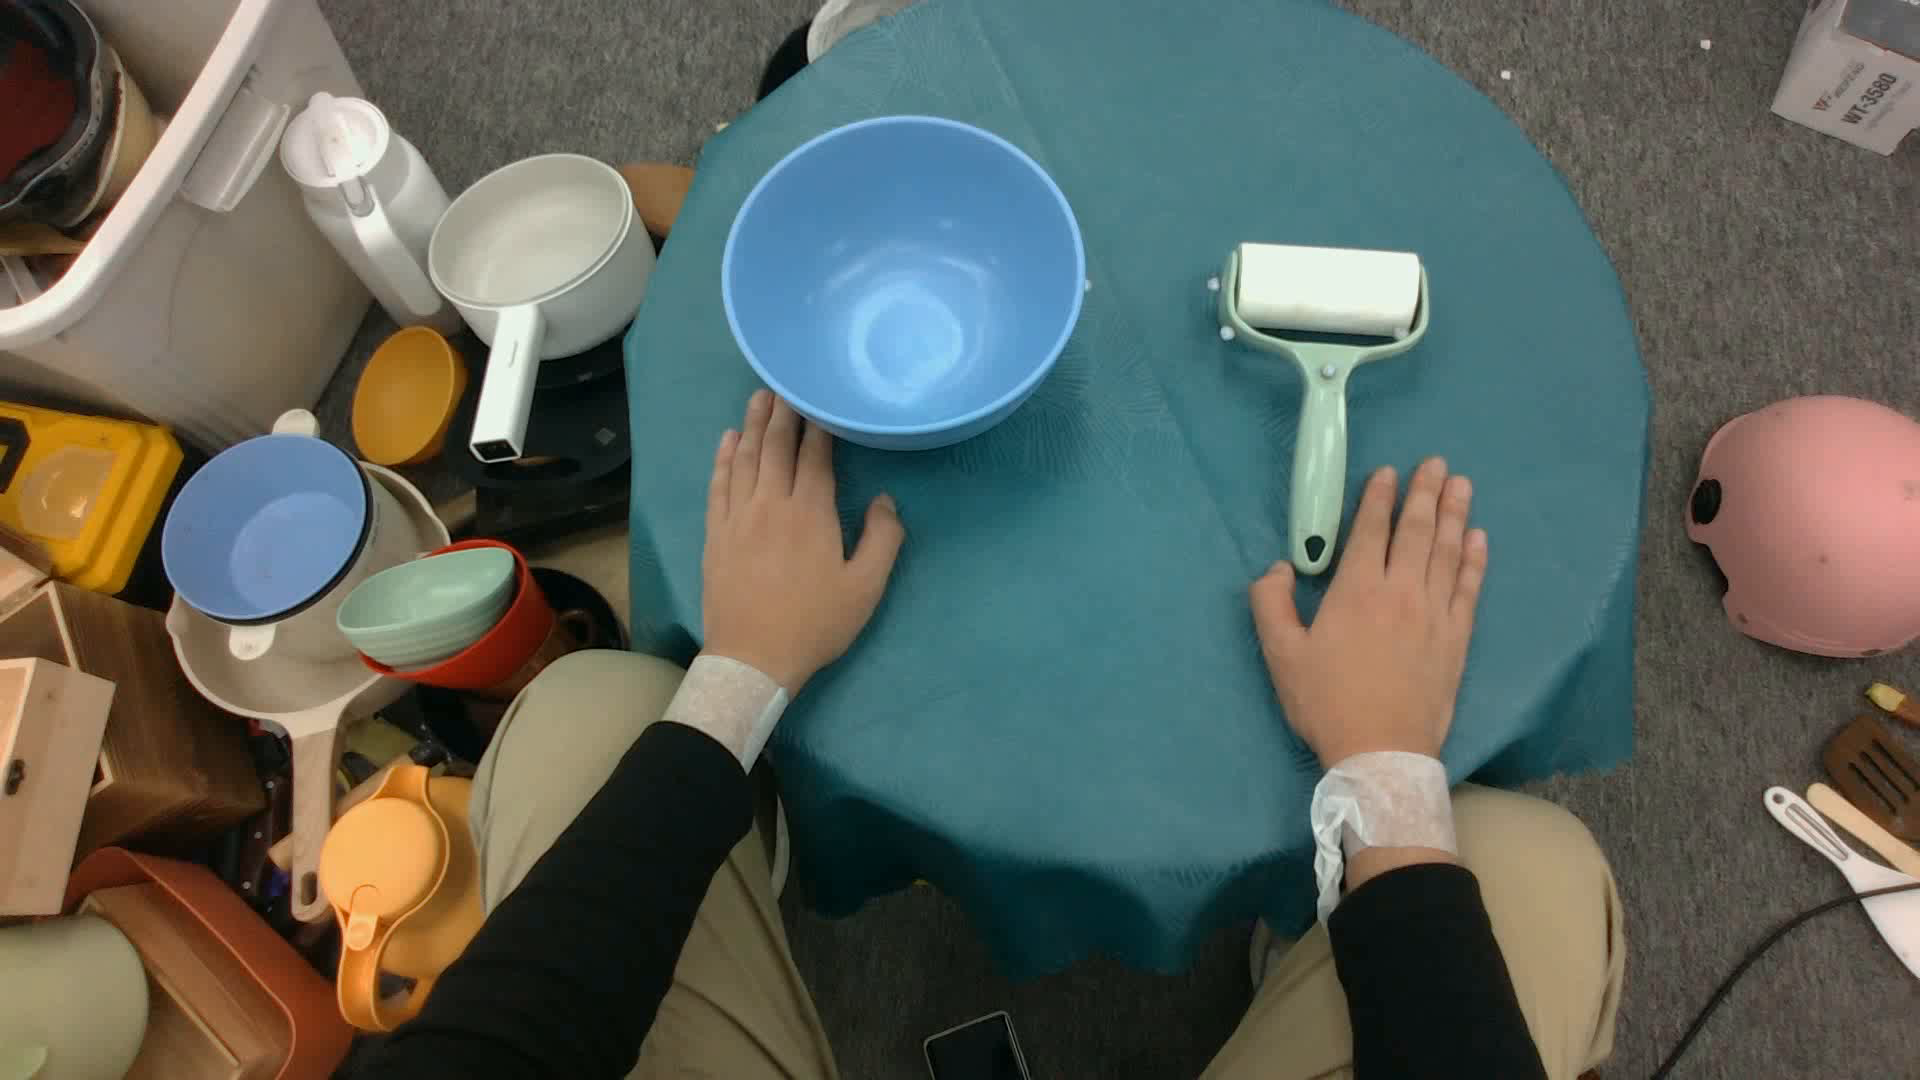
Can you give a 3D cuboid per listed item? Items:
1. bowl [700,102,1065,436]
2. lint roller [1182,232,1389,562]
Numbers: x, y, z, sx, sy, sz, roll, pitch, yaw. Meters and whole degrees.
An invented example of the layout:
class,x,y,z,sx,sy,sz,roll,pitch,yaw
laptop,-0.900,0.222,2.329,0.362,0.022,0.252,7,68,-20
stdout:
class,x,y,z,sx,sy,sz,roll,pitch,yaw
bowl,-0.042,-0.138,0.782,0.196,0.095,0.197,0,70,-1
lint roller,0.184,-0.086,0.788,0.116,0.048,0.198,5,70,1
